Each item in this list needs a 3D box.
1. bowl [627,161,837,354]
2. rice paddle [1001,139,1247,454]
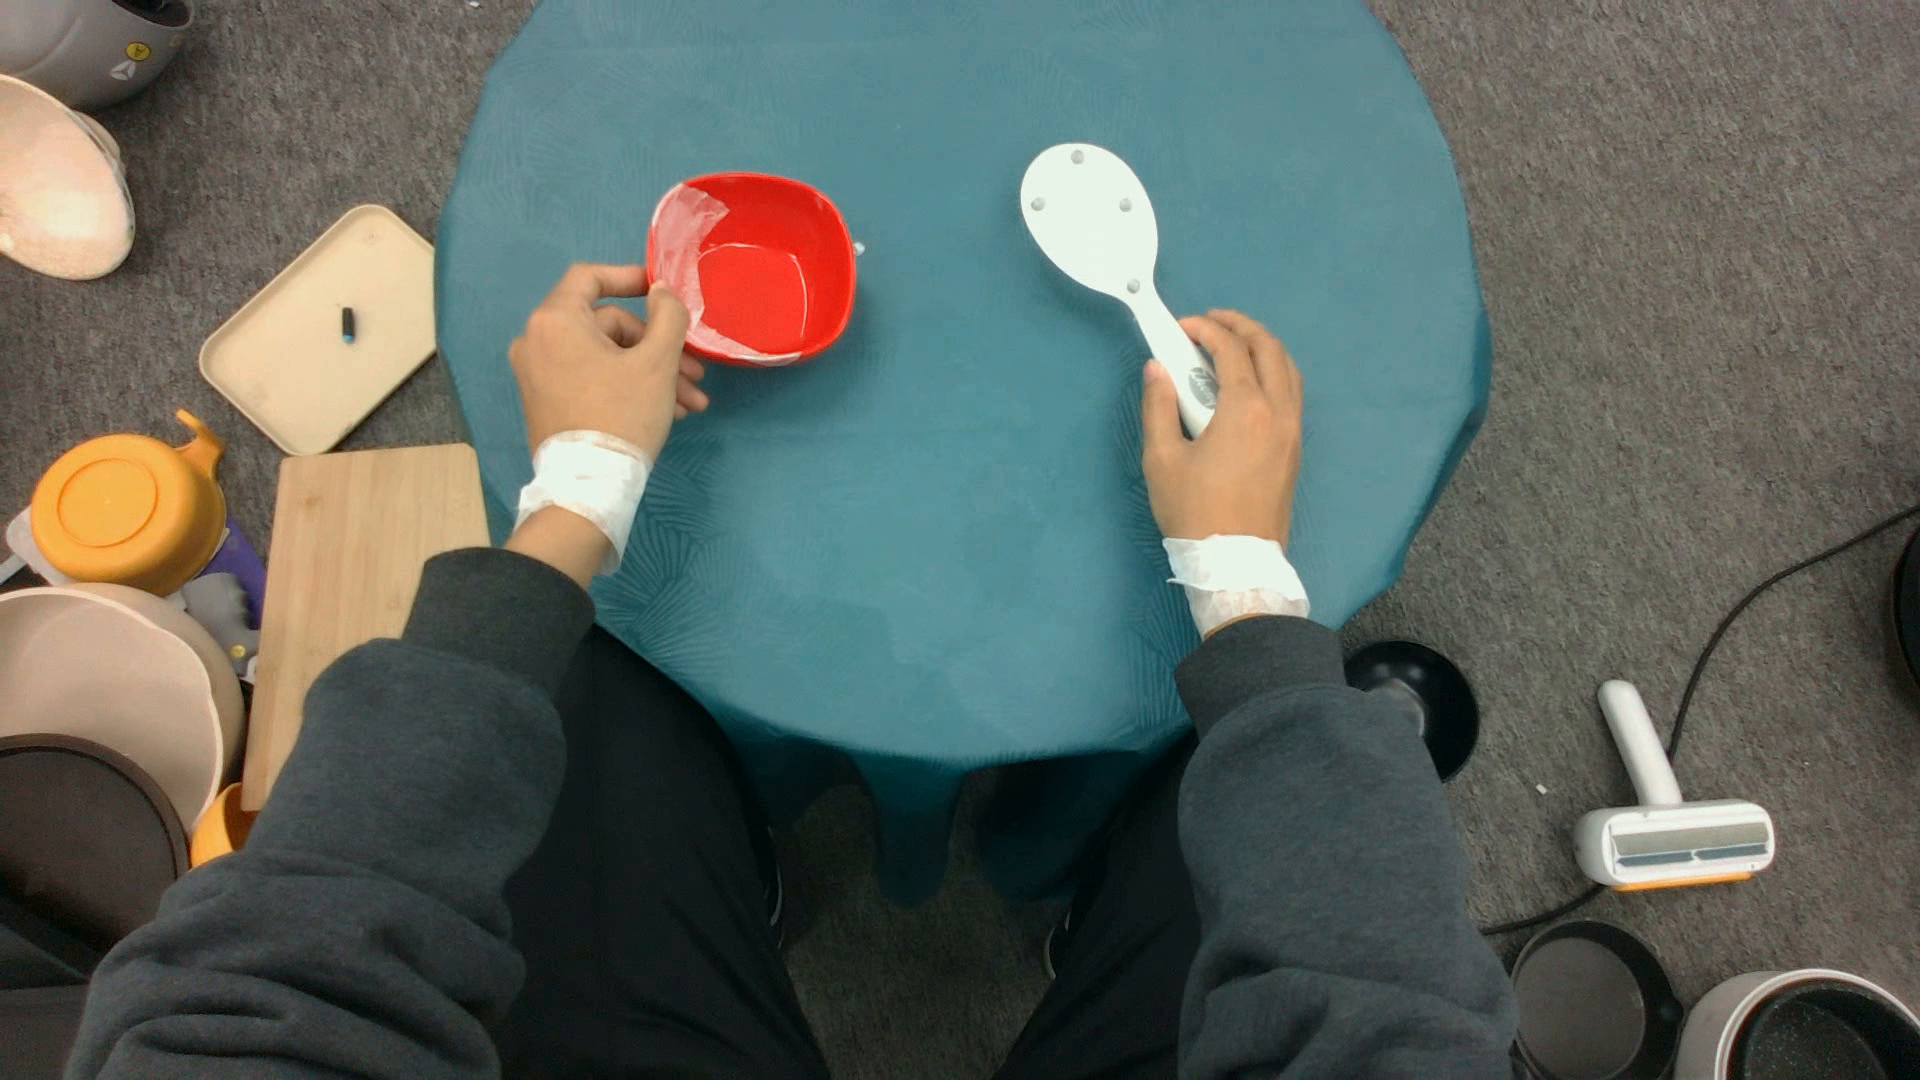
[{"bbox_3d":[-0.125,-0.146,0.754,0.119,0.051,0.119,4,72,-11],"label":"bowl"},{"bbox_3d":[0.090,-0.141,0.763,0.069,0.029,0.205,-29,79,-9],"label":"rice paddle"}]
